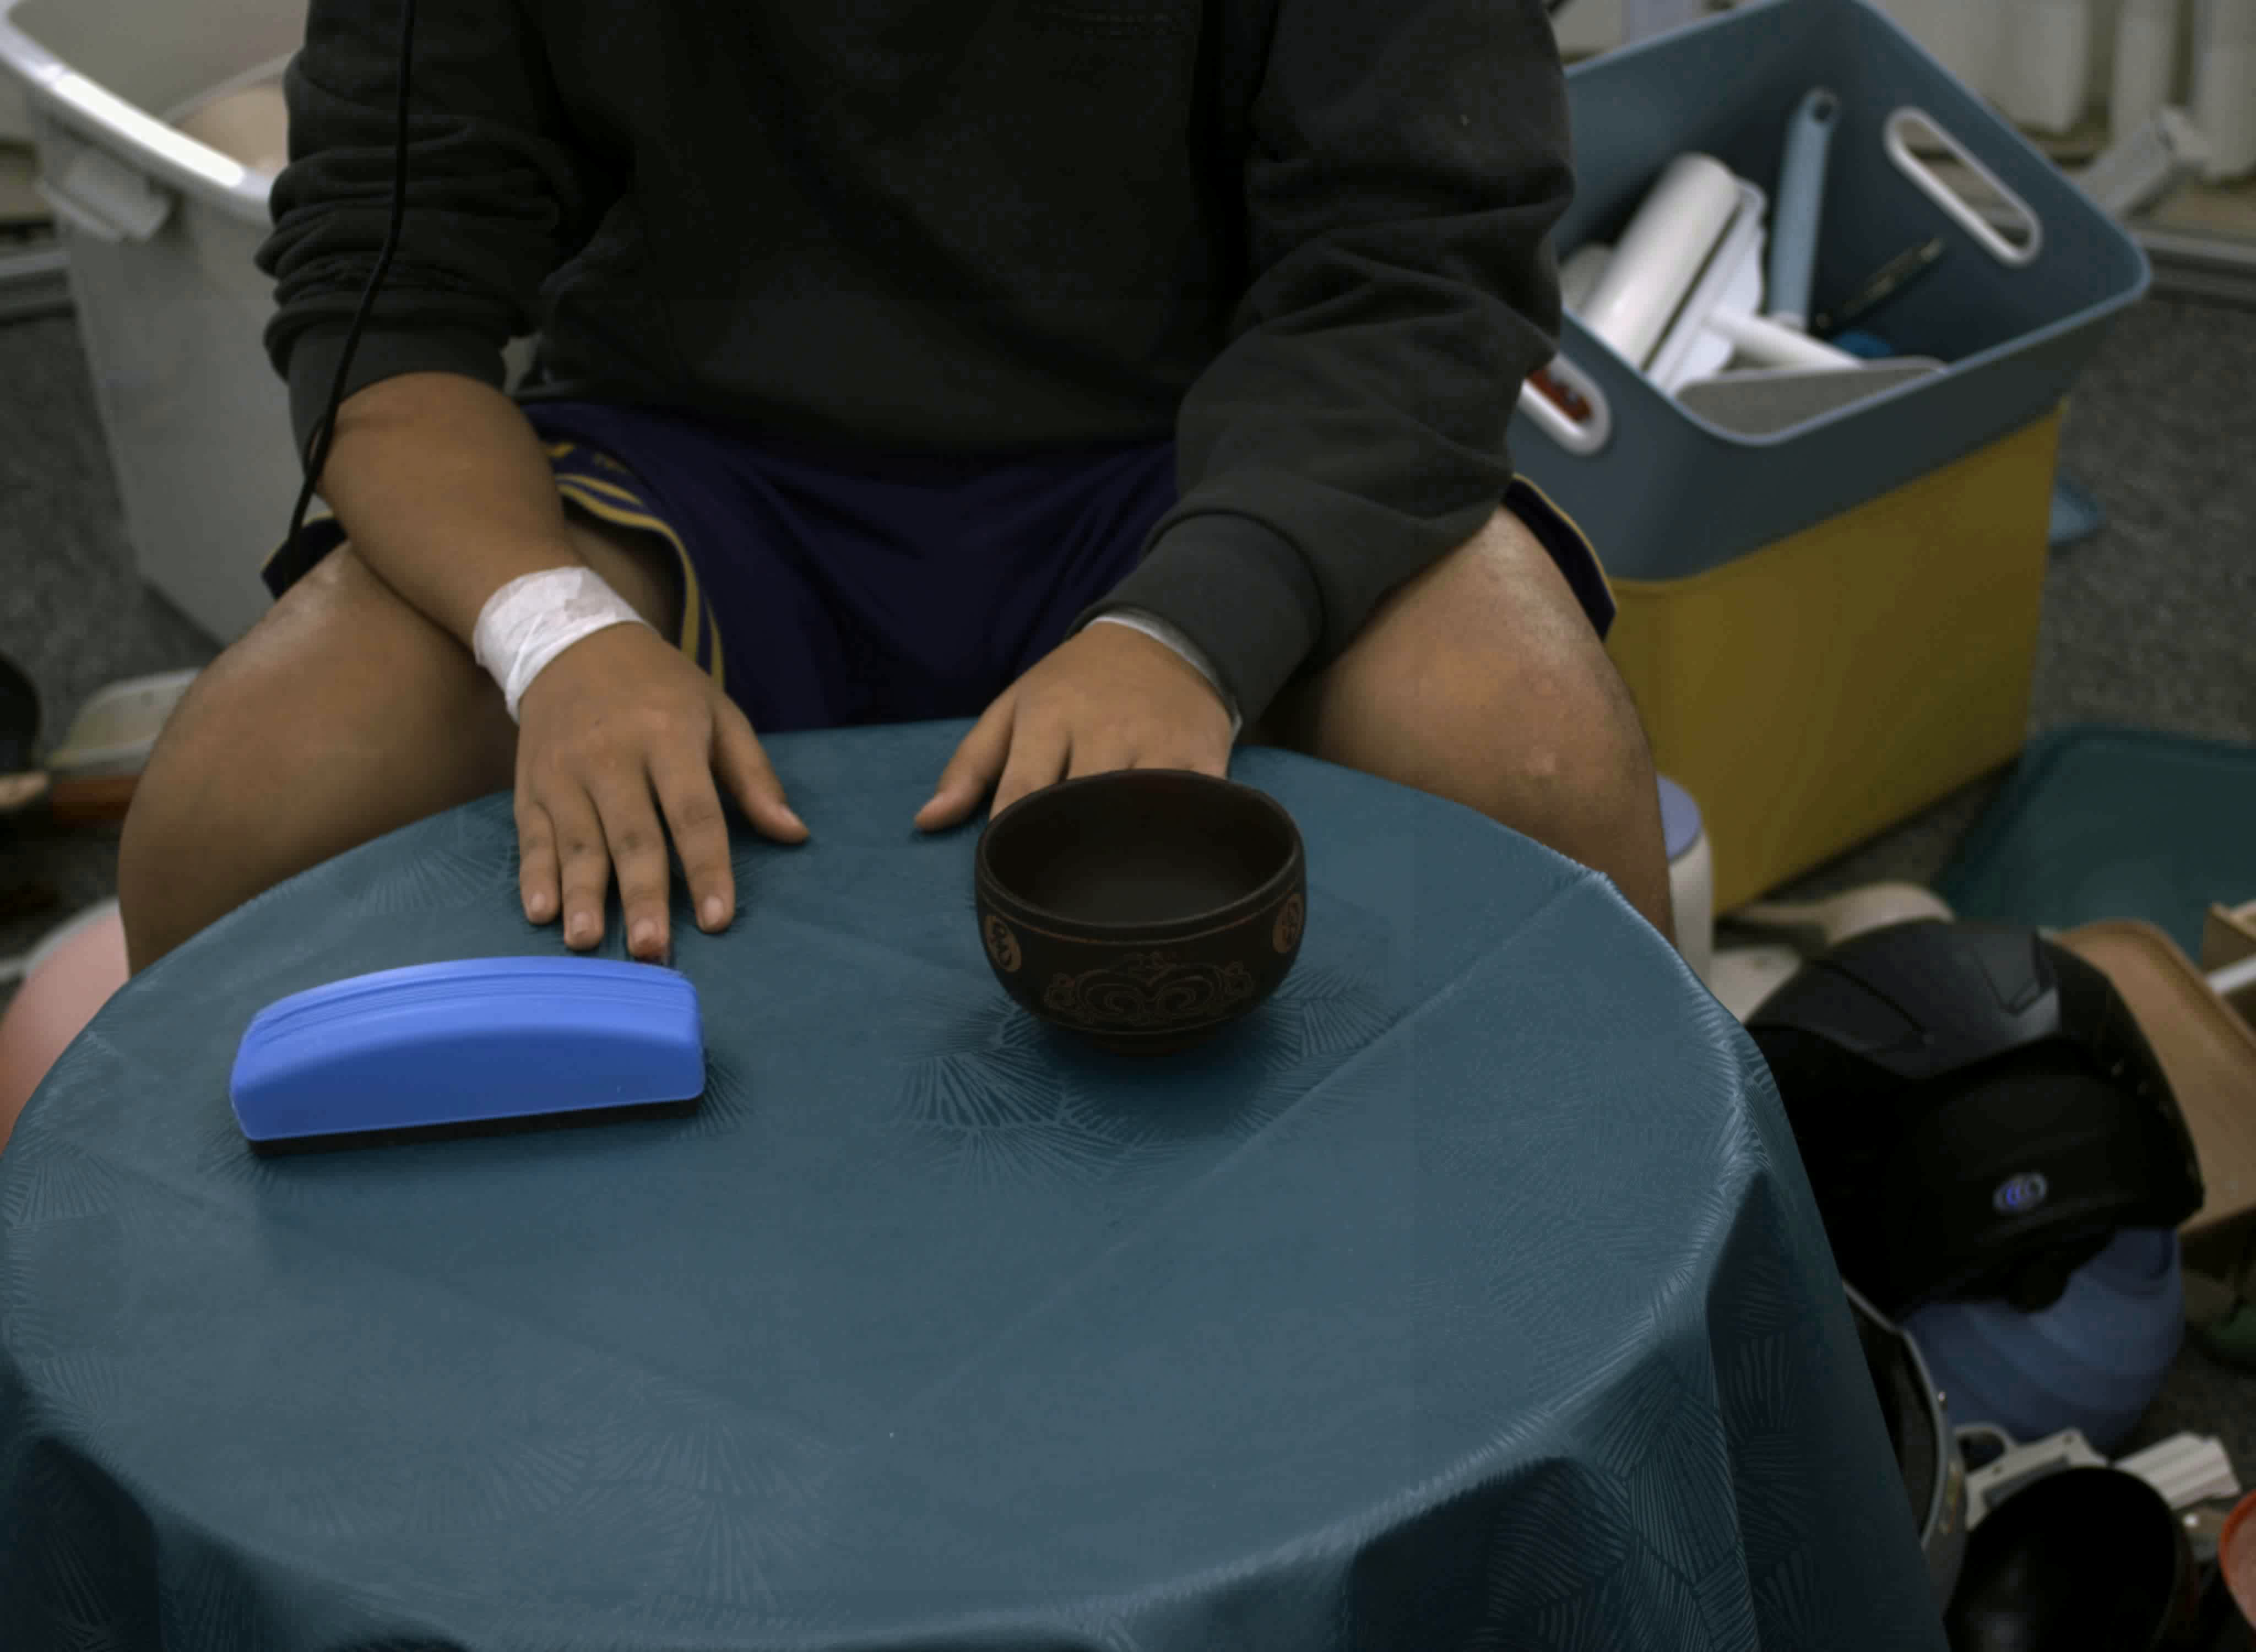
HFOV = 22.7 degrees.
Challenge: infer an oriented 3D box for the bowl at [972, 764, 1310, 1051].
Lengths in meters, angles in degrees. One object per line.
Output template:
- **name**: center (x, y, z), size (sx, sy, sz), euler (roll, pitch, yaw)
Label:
- **bowl**: center (0.006, 0.035, 1.950), size (0.117, 0.069, 0.120), euler (-3, 26, 2)

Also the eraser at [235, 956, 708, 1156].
- **eraser**: center (-0.225, 0.076, 1.923), size (0.162, 0.047, 0.054), euler (-6, 29, -6)
